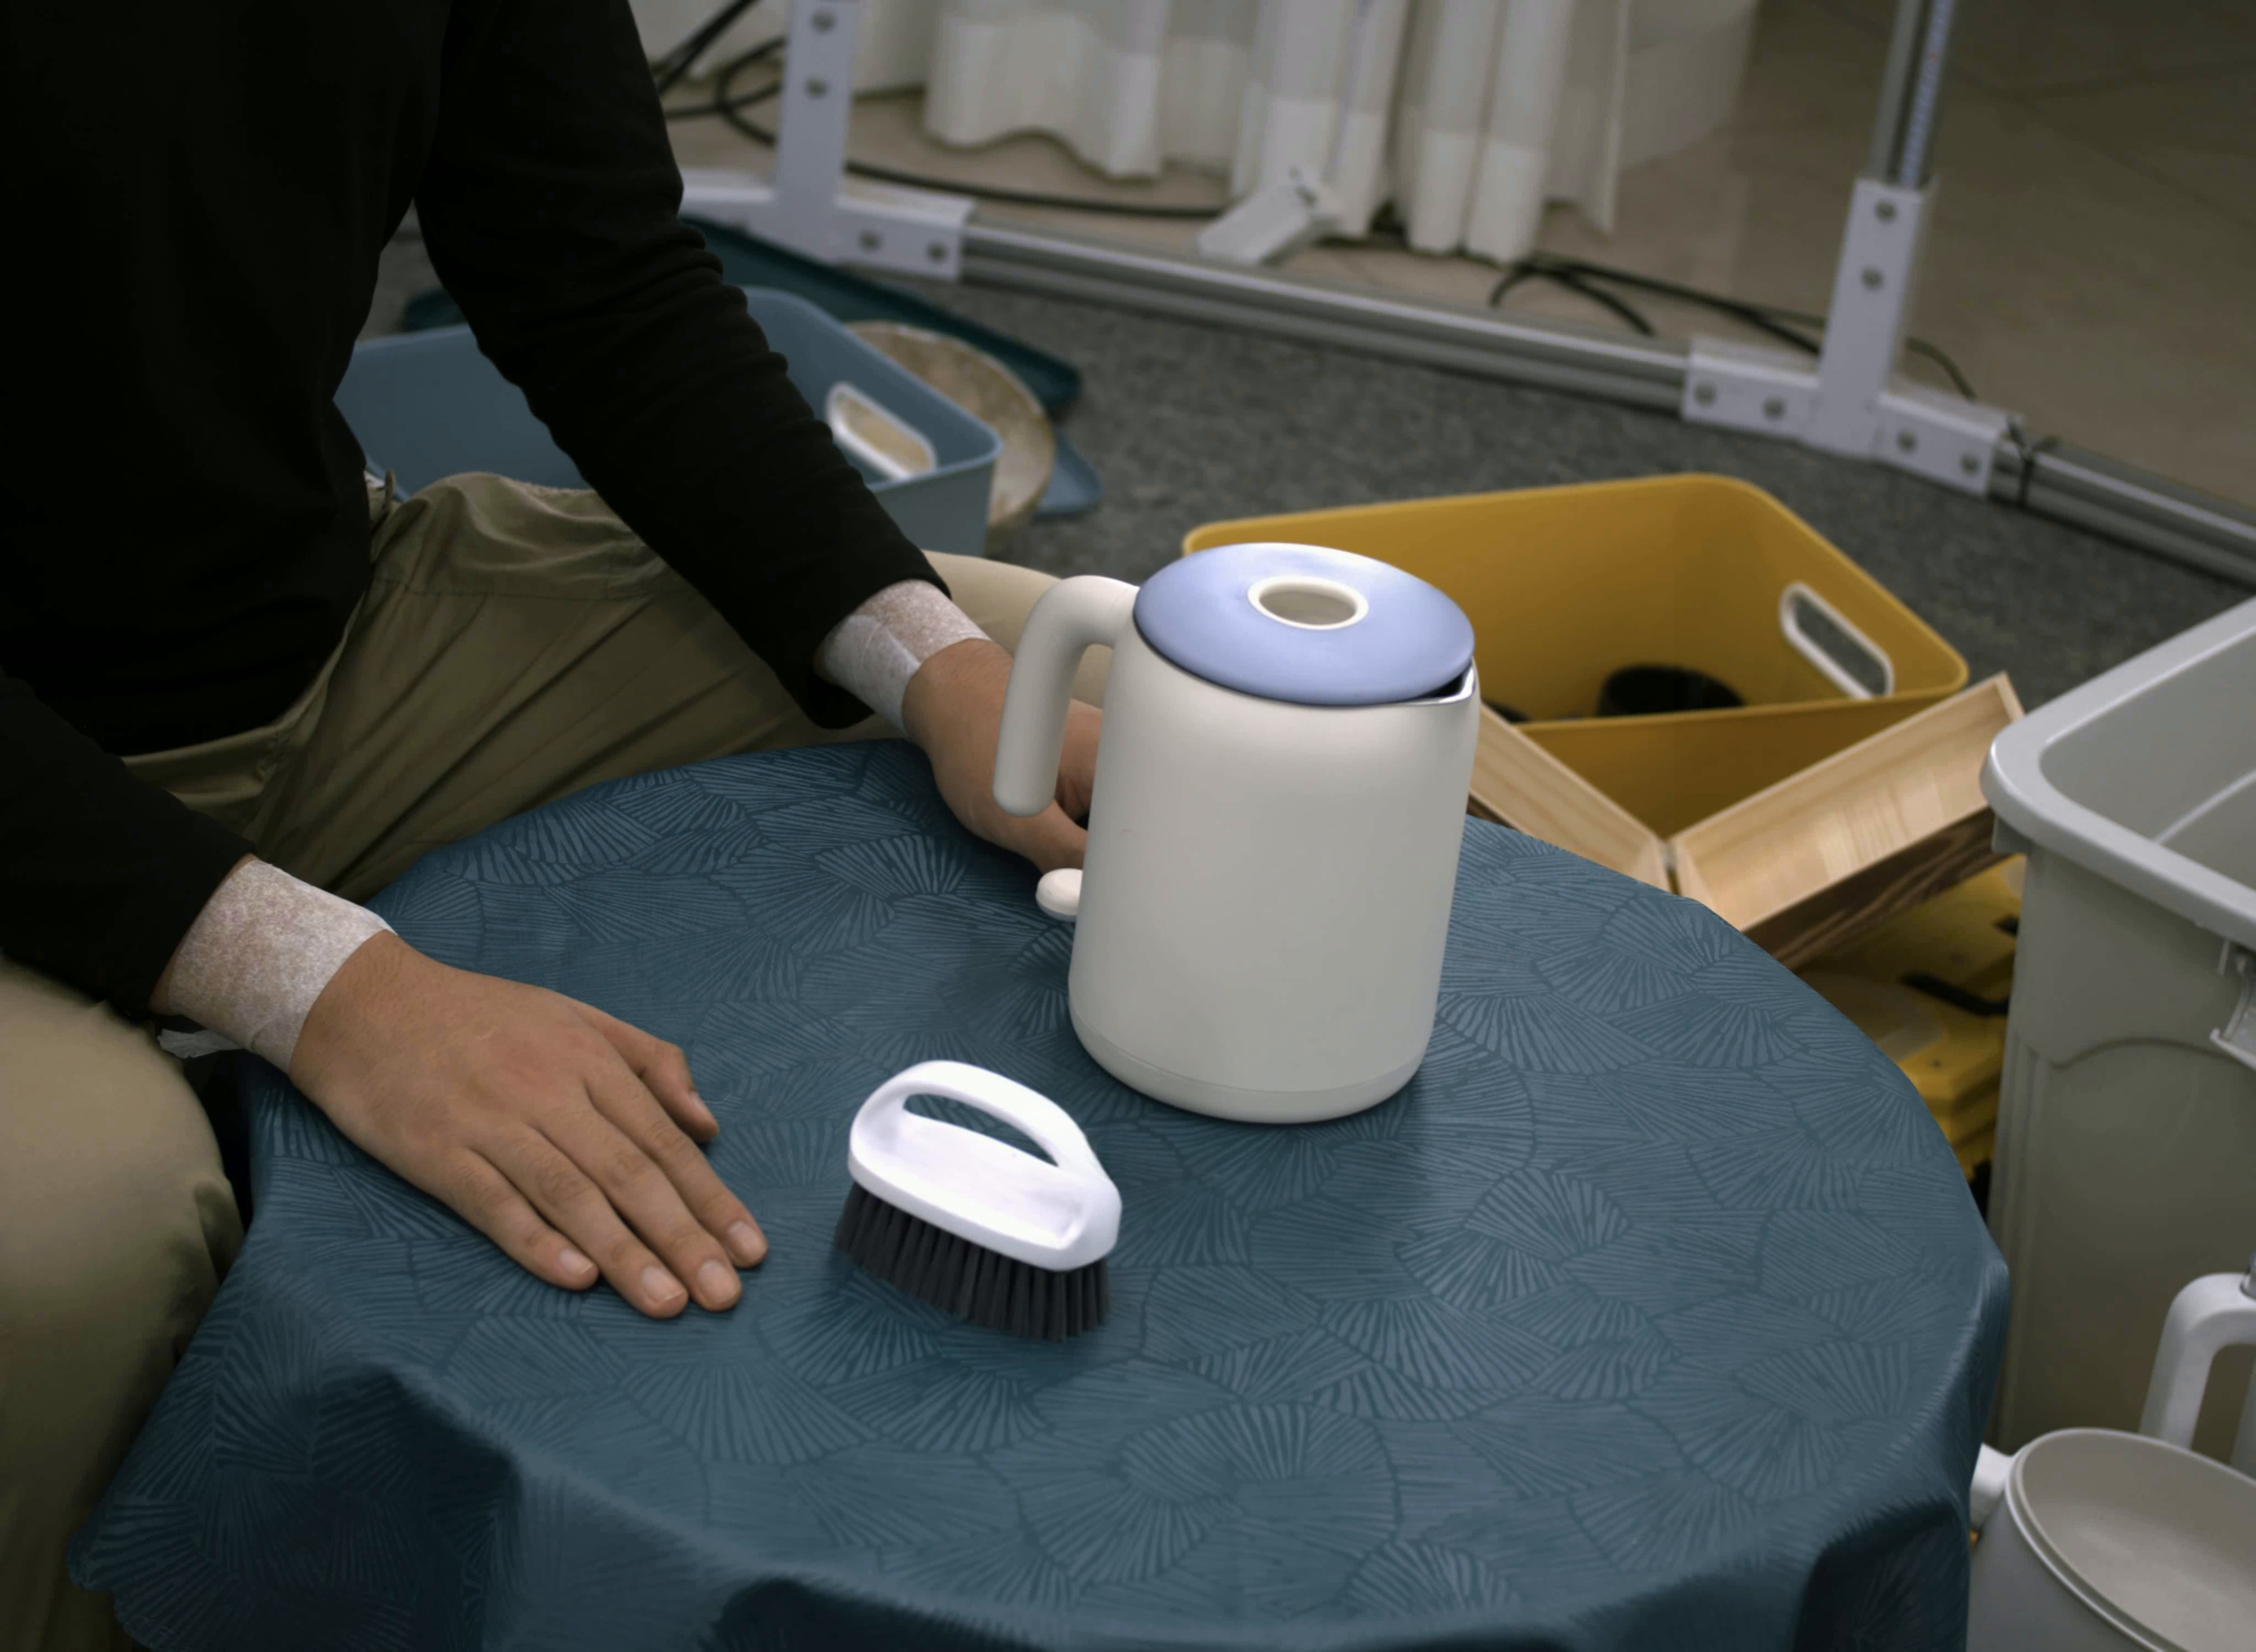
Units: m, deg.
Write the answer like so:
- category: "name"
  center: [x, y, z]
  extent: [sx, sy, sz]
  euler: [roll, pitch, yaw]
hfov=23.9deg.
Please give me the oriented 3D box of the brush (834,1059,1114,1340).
- category: "brush"
  center: [-0.049, 0.115, 1.728]
  extent: [0.100, 0.072, 0.050]
  euler: [23, 31, 29]

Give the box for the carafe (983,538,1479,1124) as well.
- category: "carafe"
  center: [0.031, -0.007, 1.877]
  extent: [0.192, 0.182, 0.132]
  euler: [21, 30, 29]
